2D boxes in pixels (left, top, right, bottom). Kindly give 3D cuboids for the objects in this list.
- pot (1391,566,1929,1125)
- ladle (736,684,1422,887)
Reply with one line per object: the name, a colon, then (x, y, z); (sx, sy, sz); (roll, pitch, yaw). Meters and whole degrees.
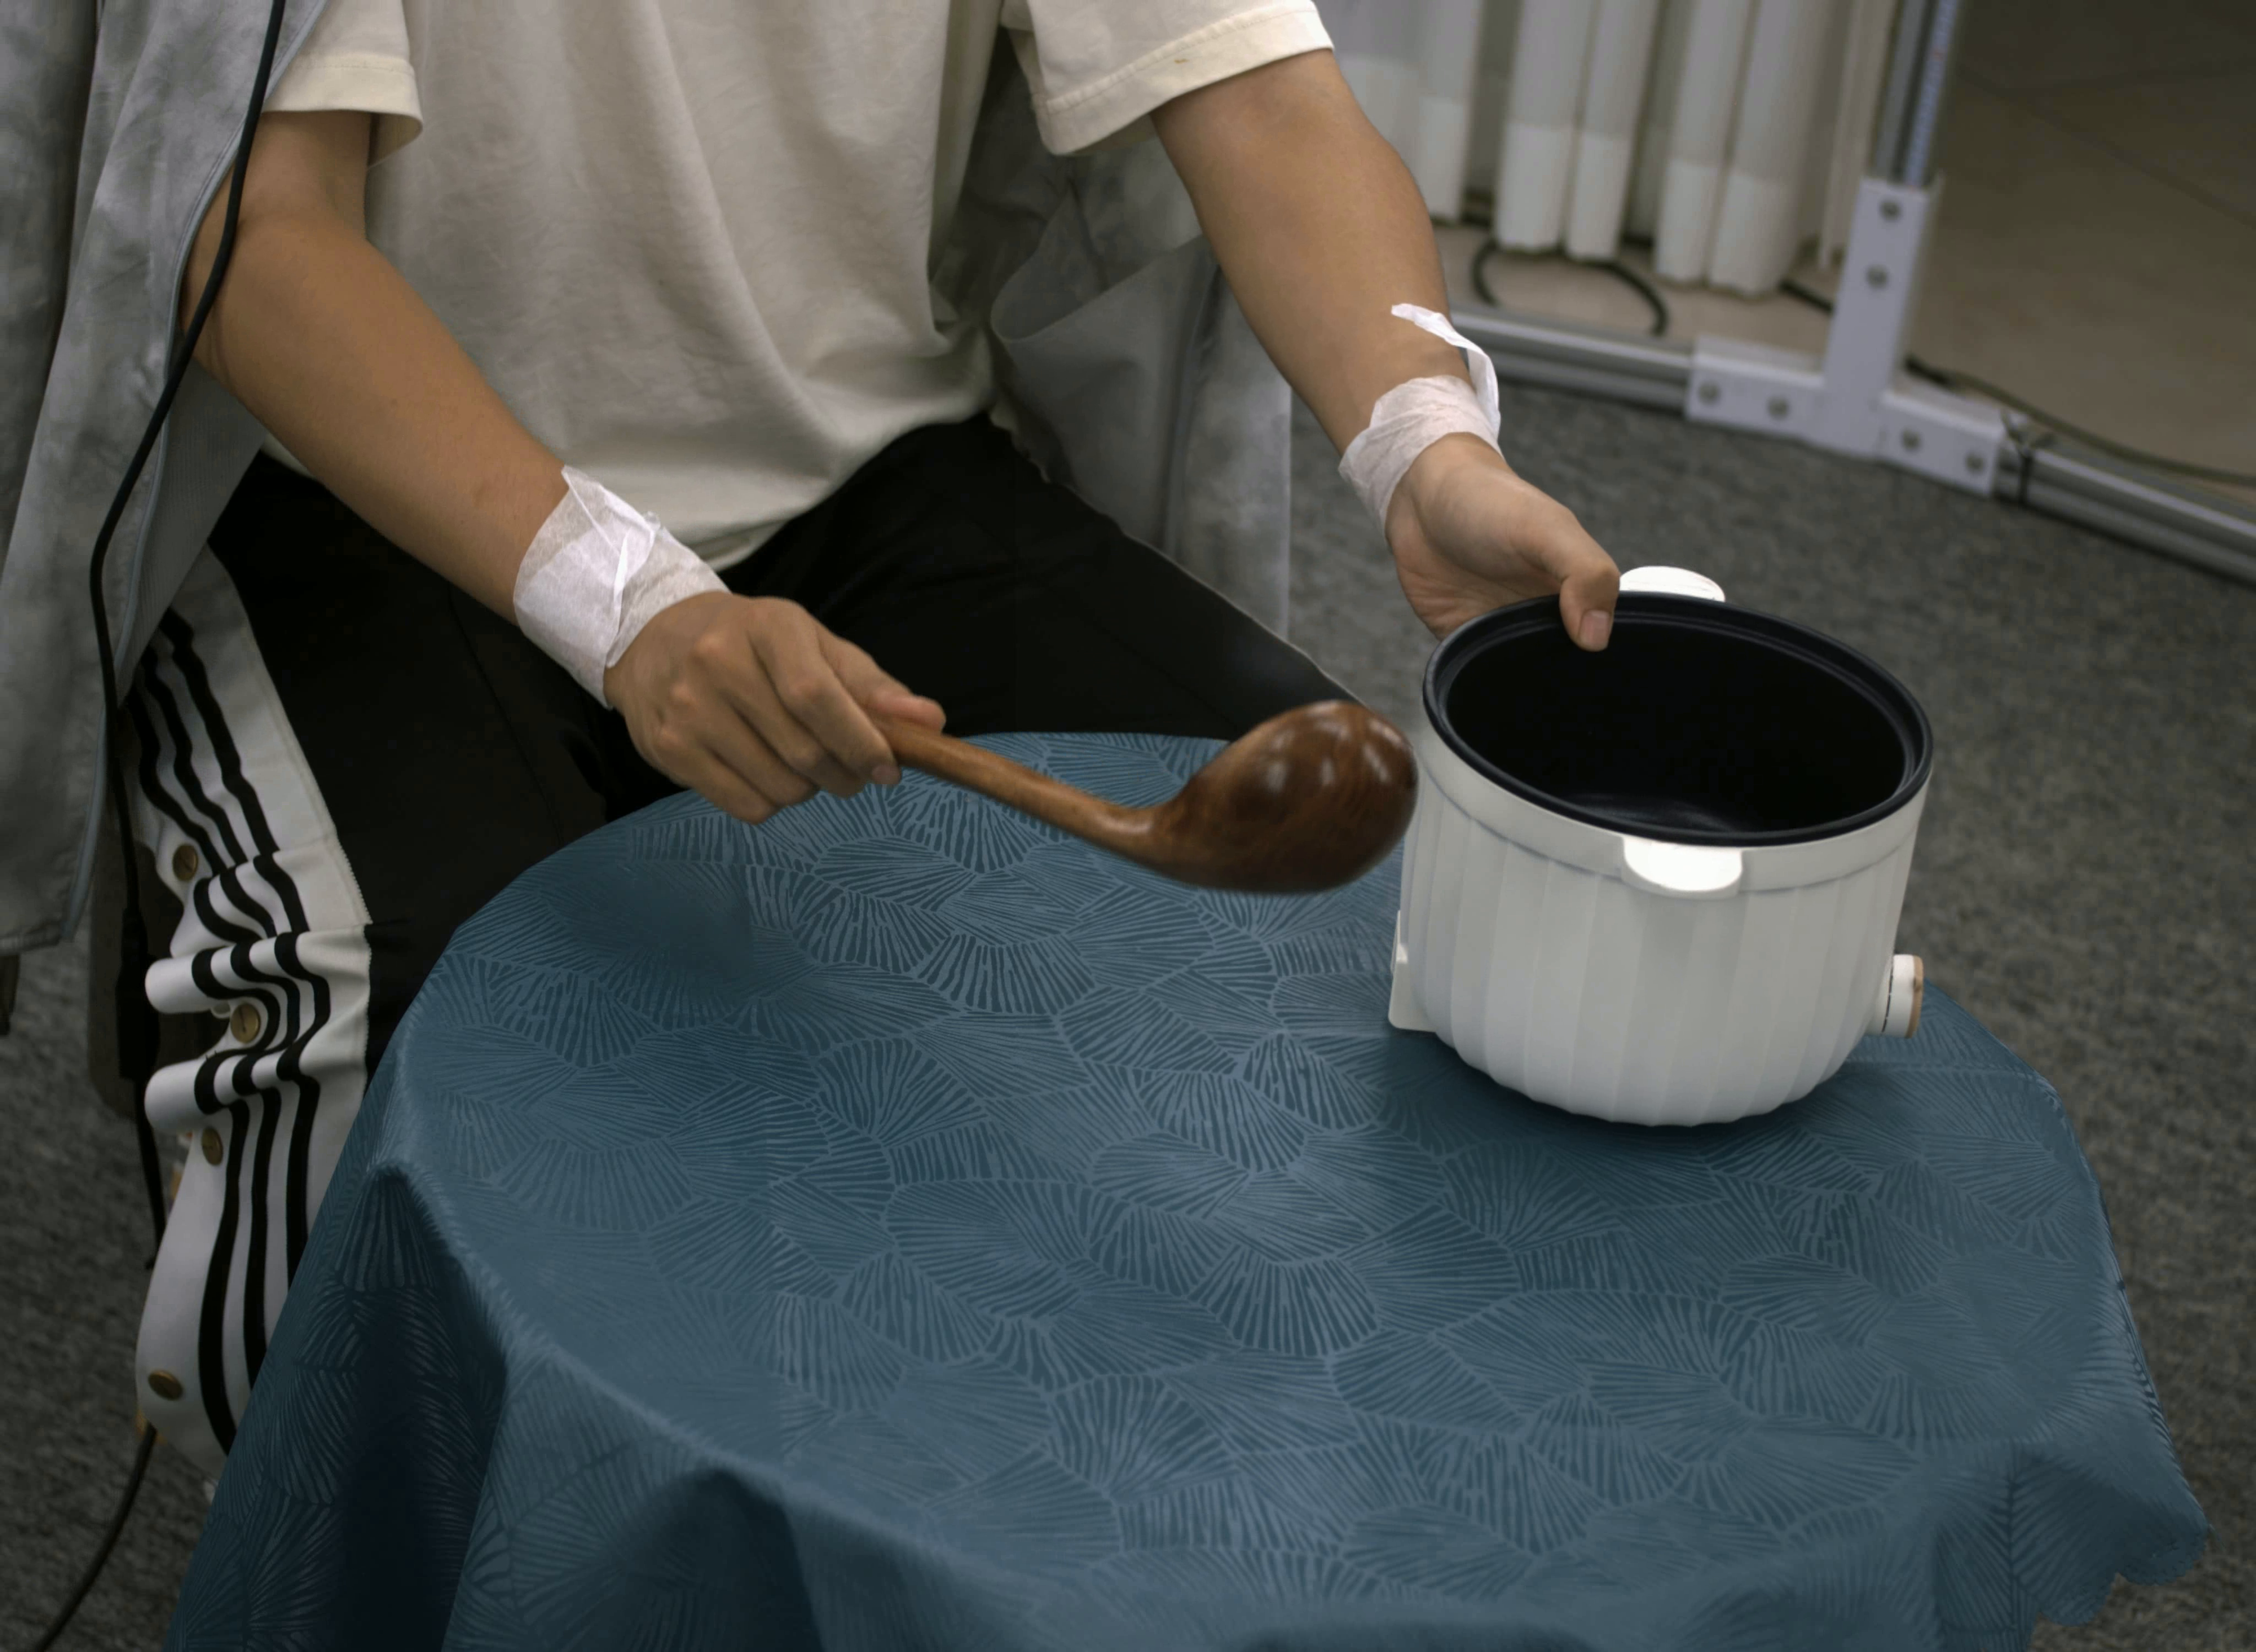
pot: (0.192, 0.016, 1.901); (0.190, 0.142, 0.242); (3, 30, 2)
ladle: (-0.020, -0.035, 1.835); (0.276, 0.081, 0.077); (17, 65, 40)
